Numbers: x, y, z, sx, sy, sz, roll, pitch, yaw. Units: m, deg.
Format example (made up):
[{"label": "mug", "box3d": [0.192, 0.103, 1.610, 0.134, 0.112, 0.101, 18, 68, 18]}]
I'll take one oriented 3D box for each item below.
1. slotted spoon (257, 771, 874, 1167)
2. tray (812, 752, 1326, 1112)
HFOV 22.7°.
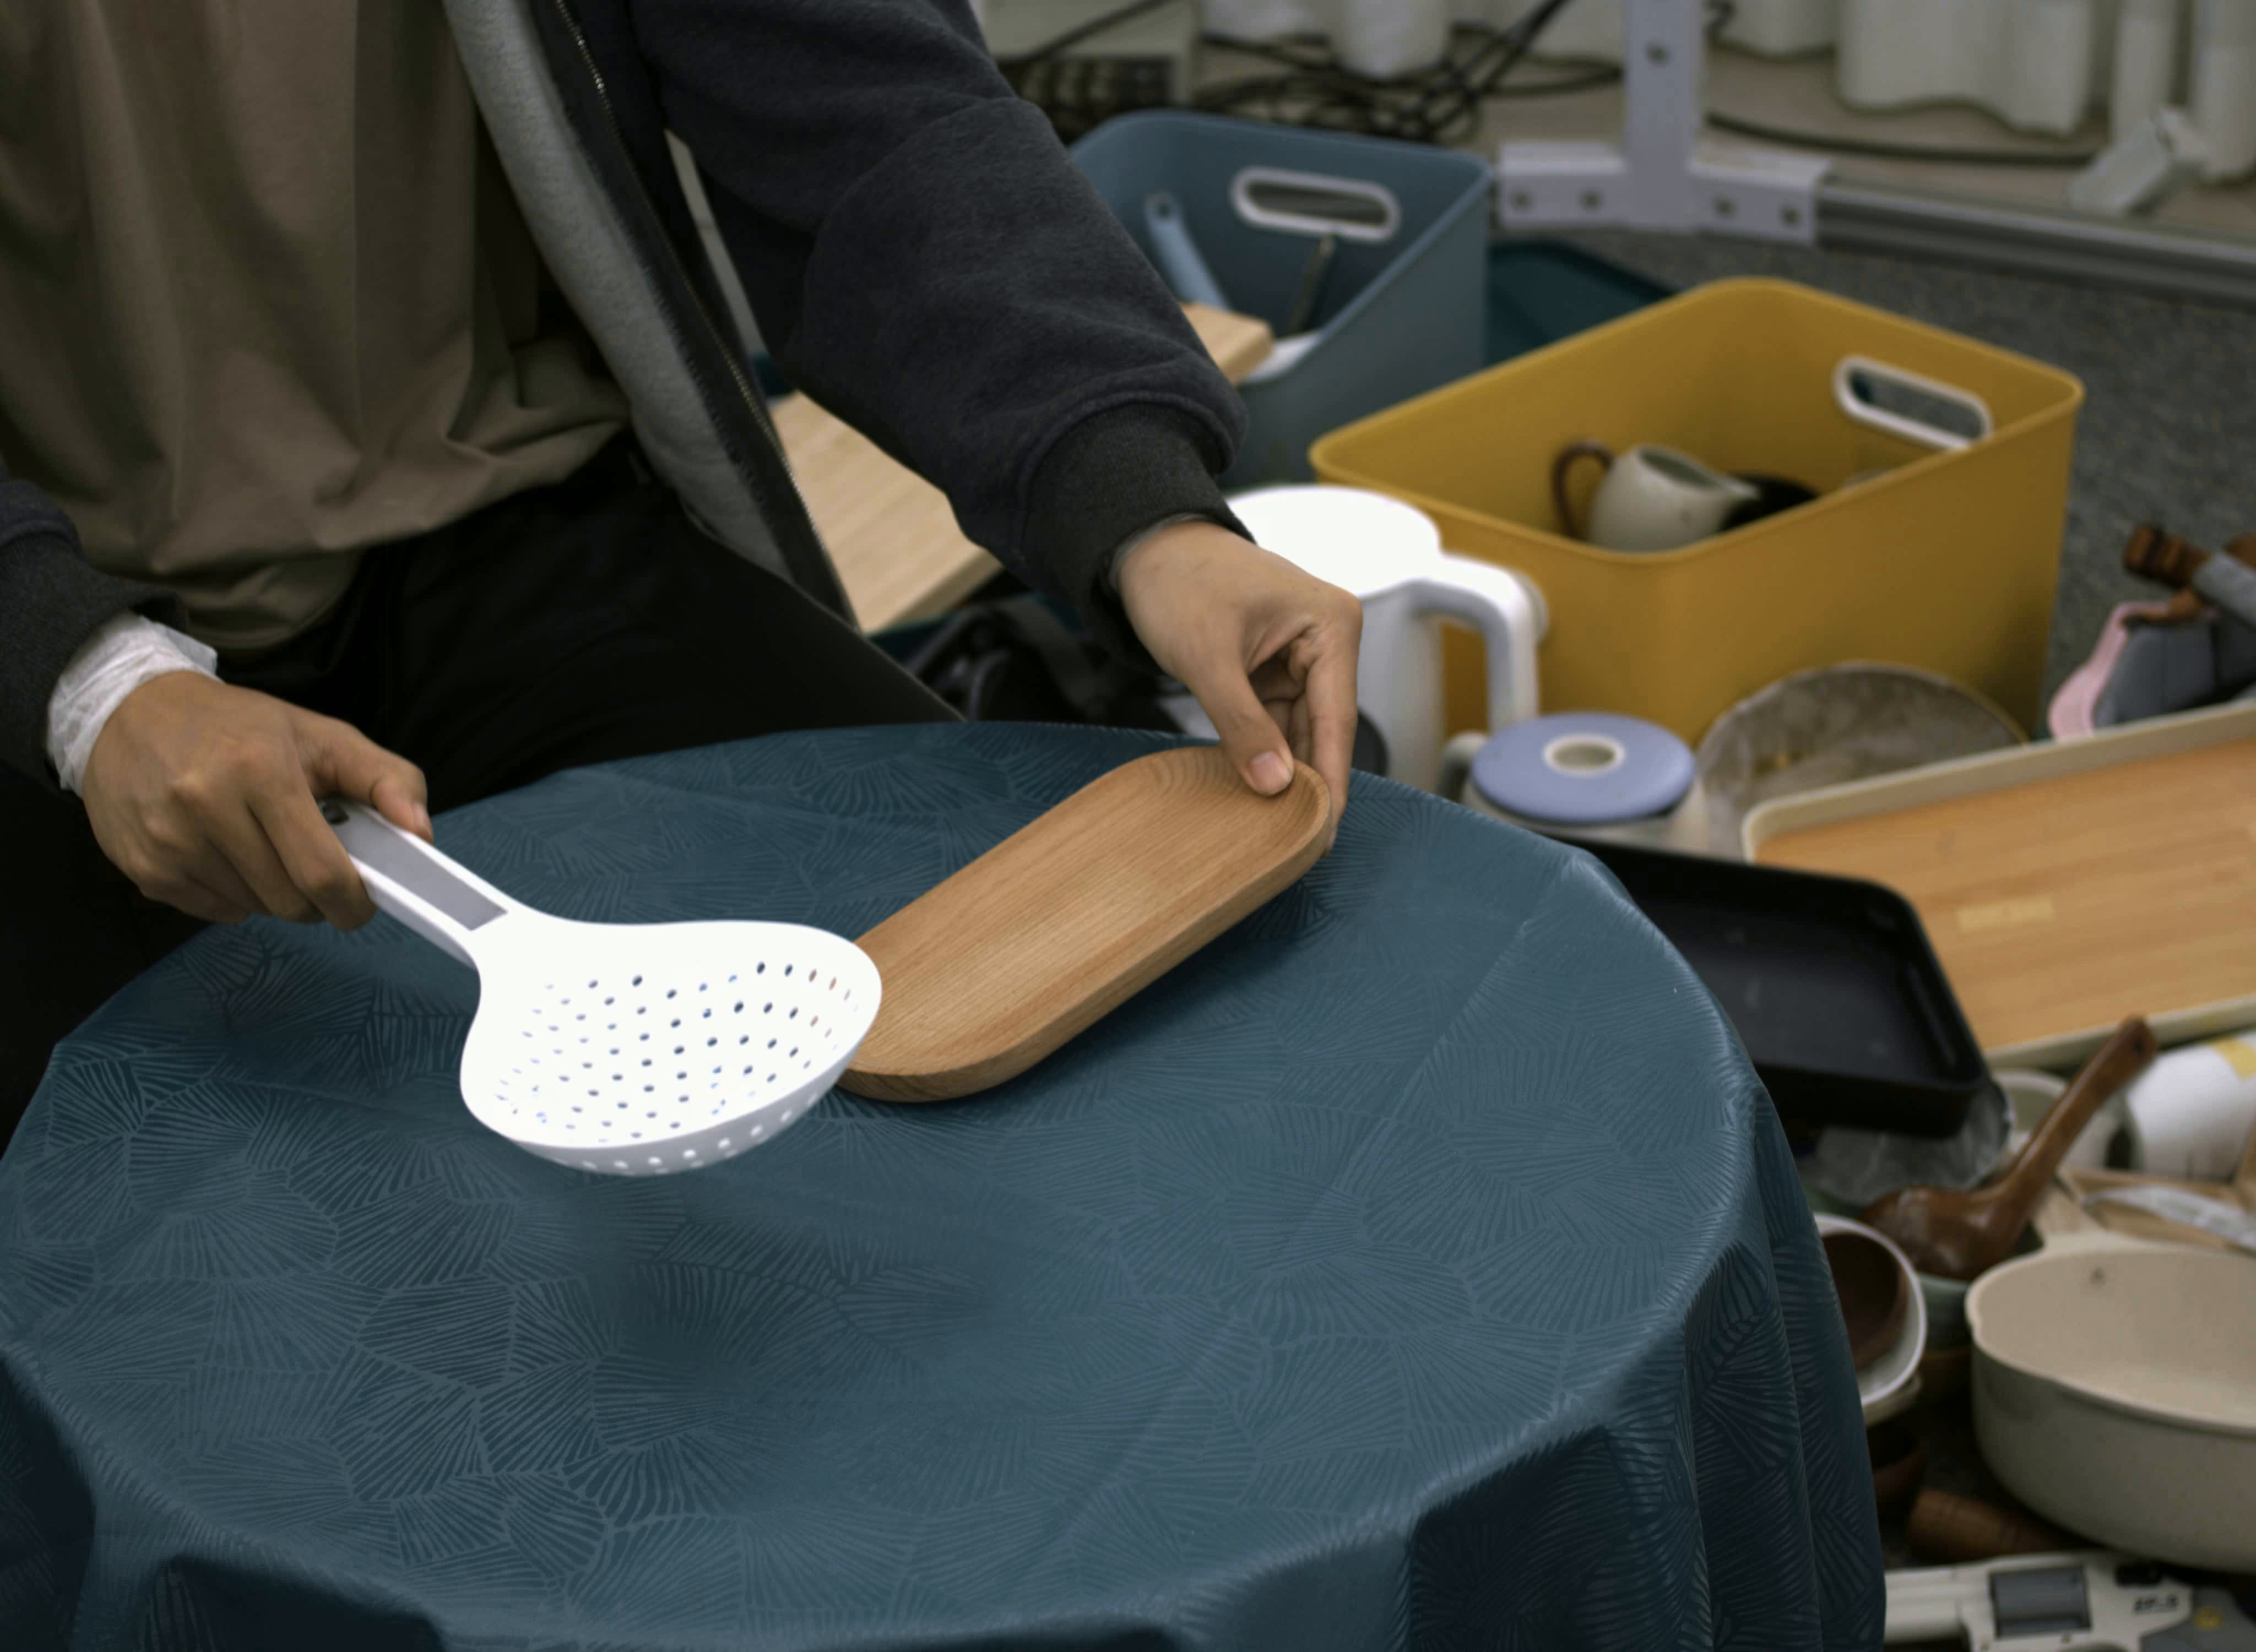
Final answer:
[{"label": "slotted spoon", "box3d": [-0.204, 0.039, 1.861, 0.137, 0.045, 0.350, -26, 34, -26]}, {"label": "tray", "box3d": [-0.022, 0.036, 1.987, 0.101, 0.020, 0.234, 18, 41, 40]}]
